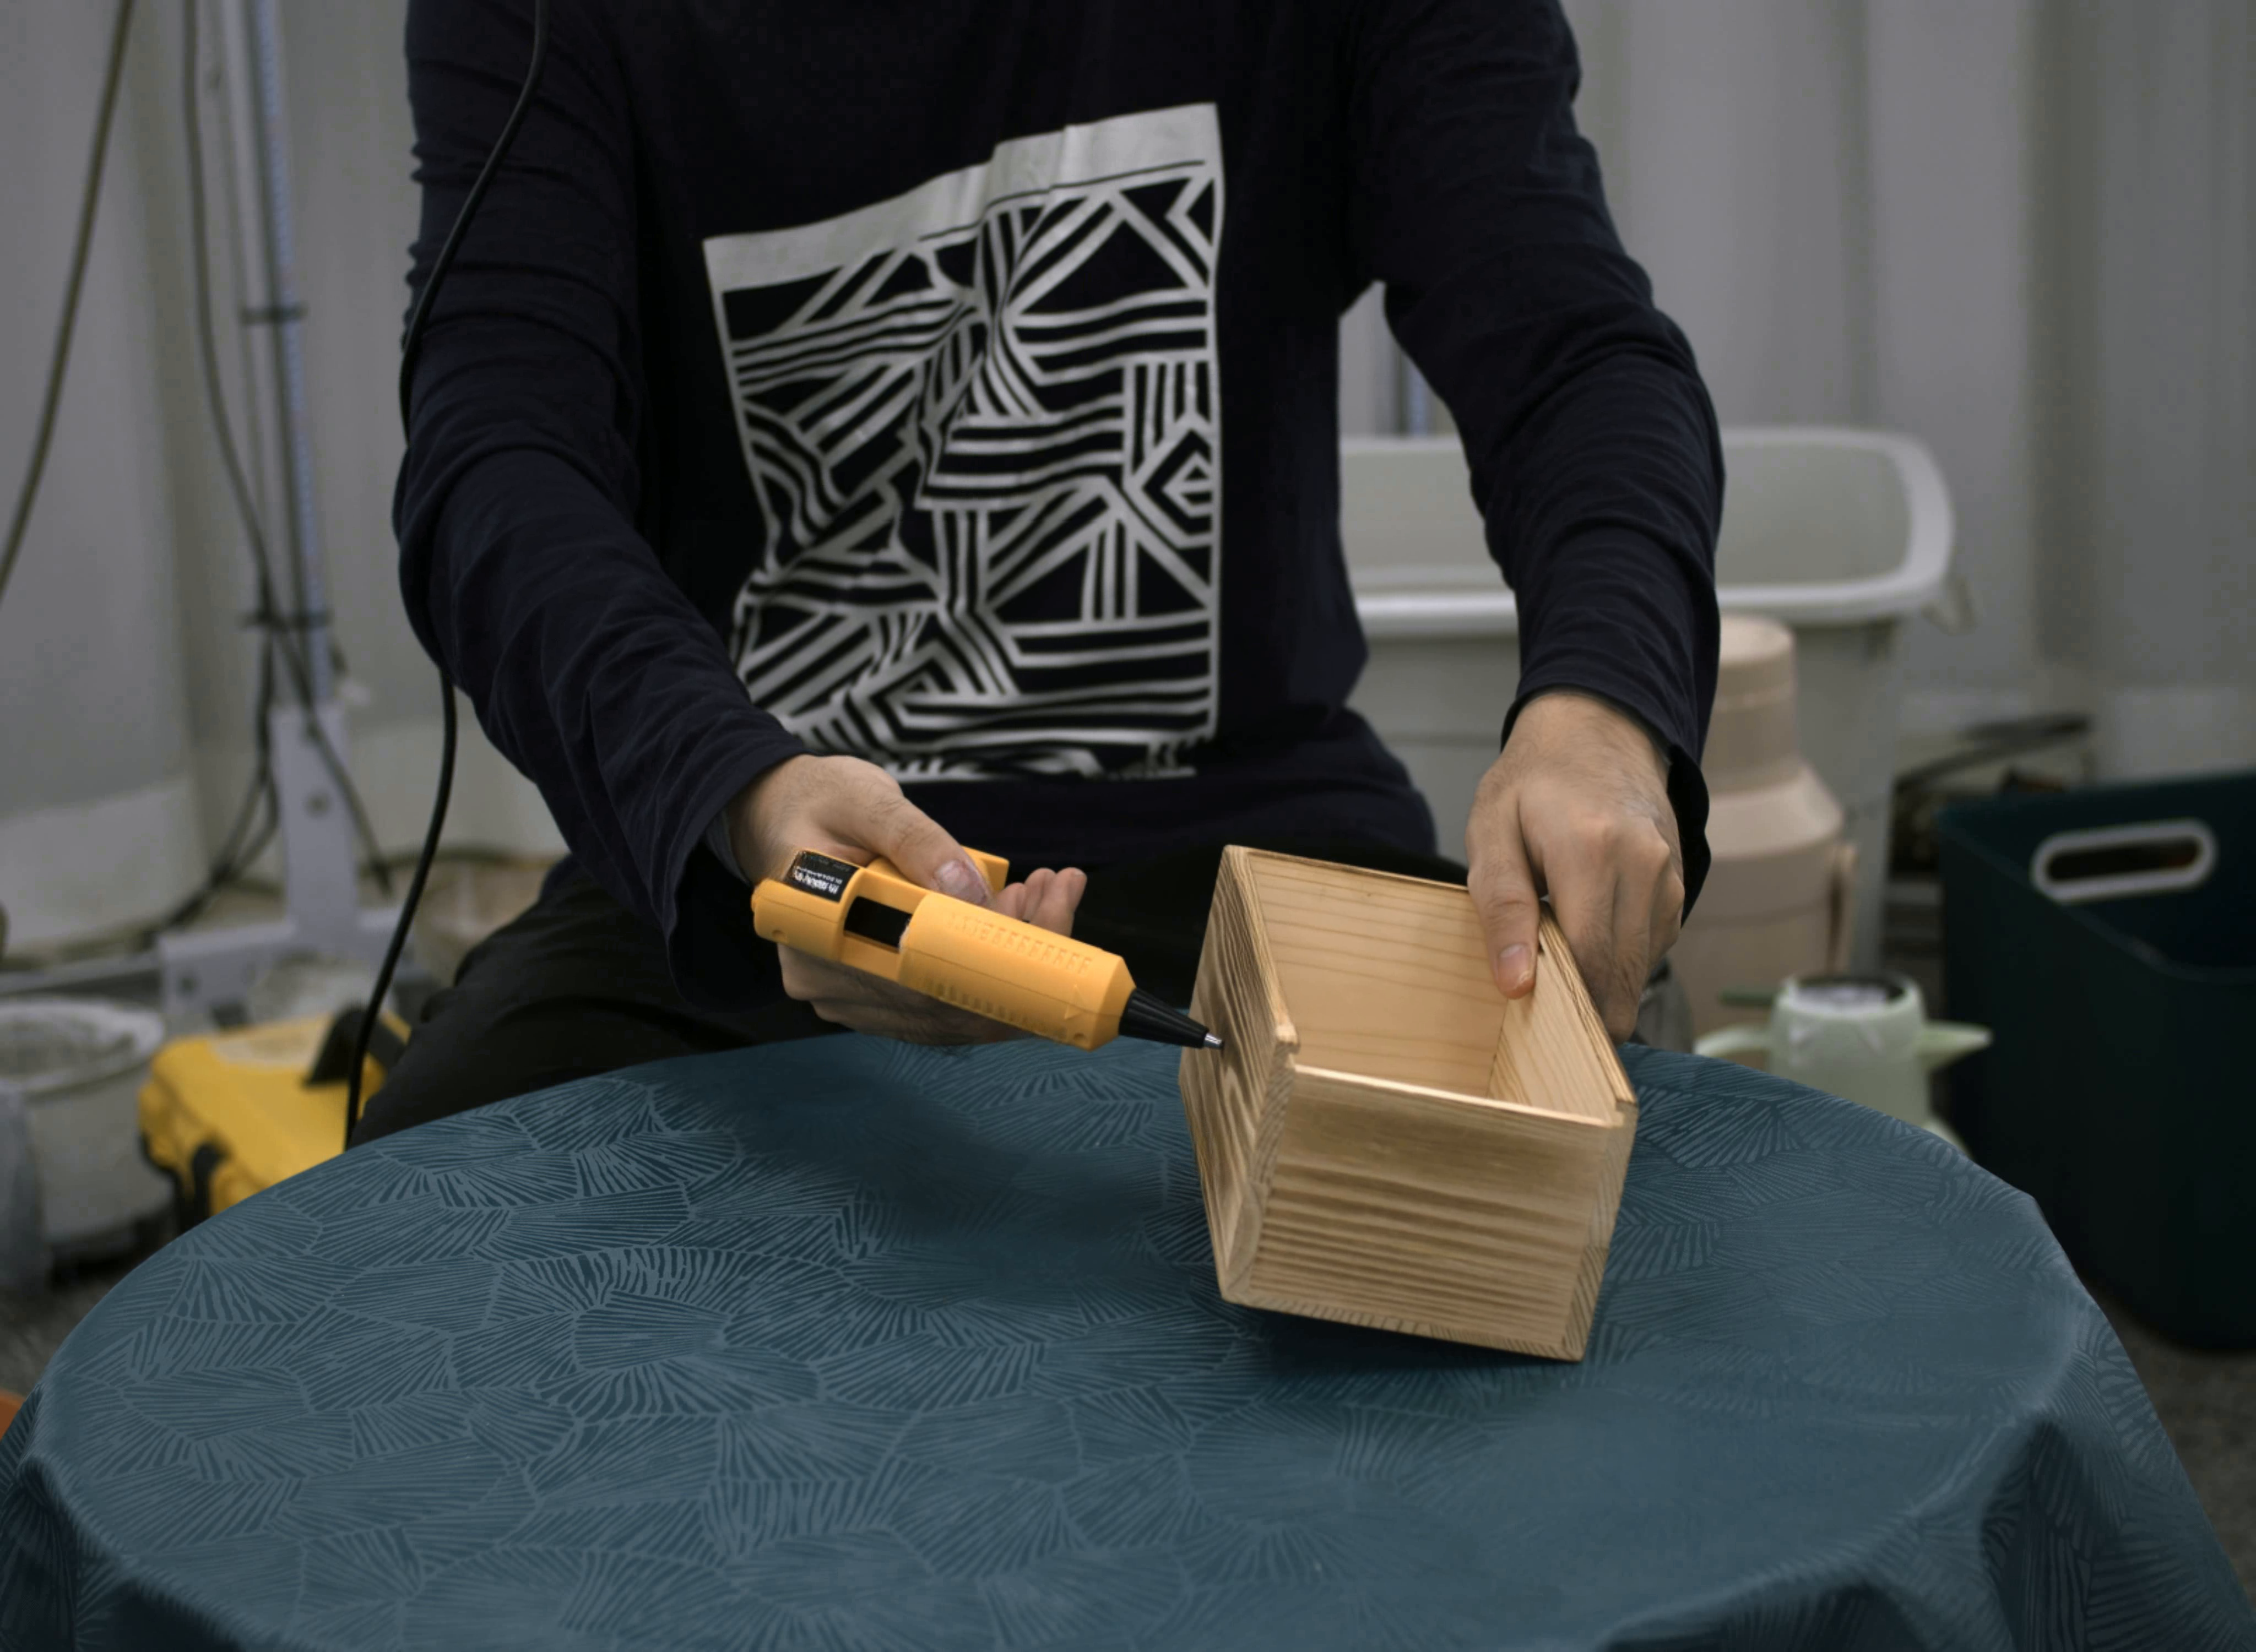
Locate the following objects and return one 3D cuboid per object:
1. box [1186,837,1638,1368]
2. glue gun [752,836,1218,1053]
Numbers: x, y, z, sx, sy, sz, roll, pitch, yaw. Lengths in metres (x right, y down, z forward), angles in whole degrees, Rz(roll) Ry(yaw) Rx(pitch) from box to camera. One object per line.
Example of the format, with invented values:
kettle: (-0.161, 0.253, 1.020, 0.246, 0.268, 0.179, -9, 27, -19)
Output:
box: (0.080, 0.079, 1.636, 0.107, 0.080, 0.213, 11, 15, -5)
glue gun: (-0.029, 0.041, 1.697, 0.152, 0.031, 0.132, 21, 7, 17)
